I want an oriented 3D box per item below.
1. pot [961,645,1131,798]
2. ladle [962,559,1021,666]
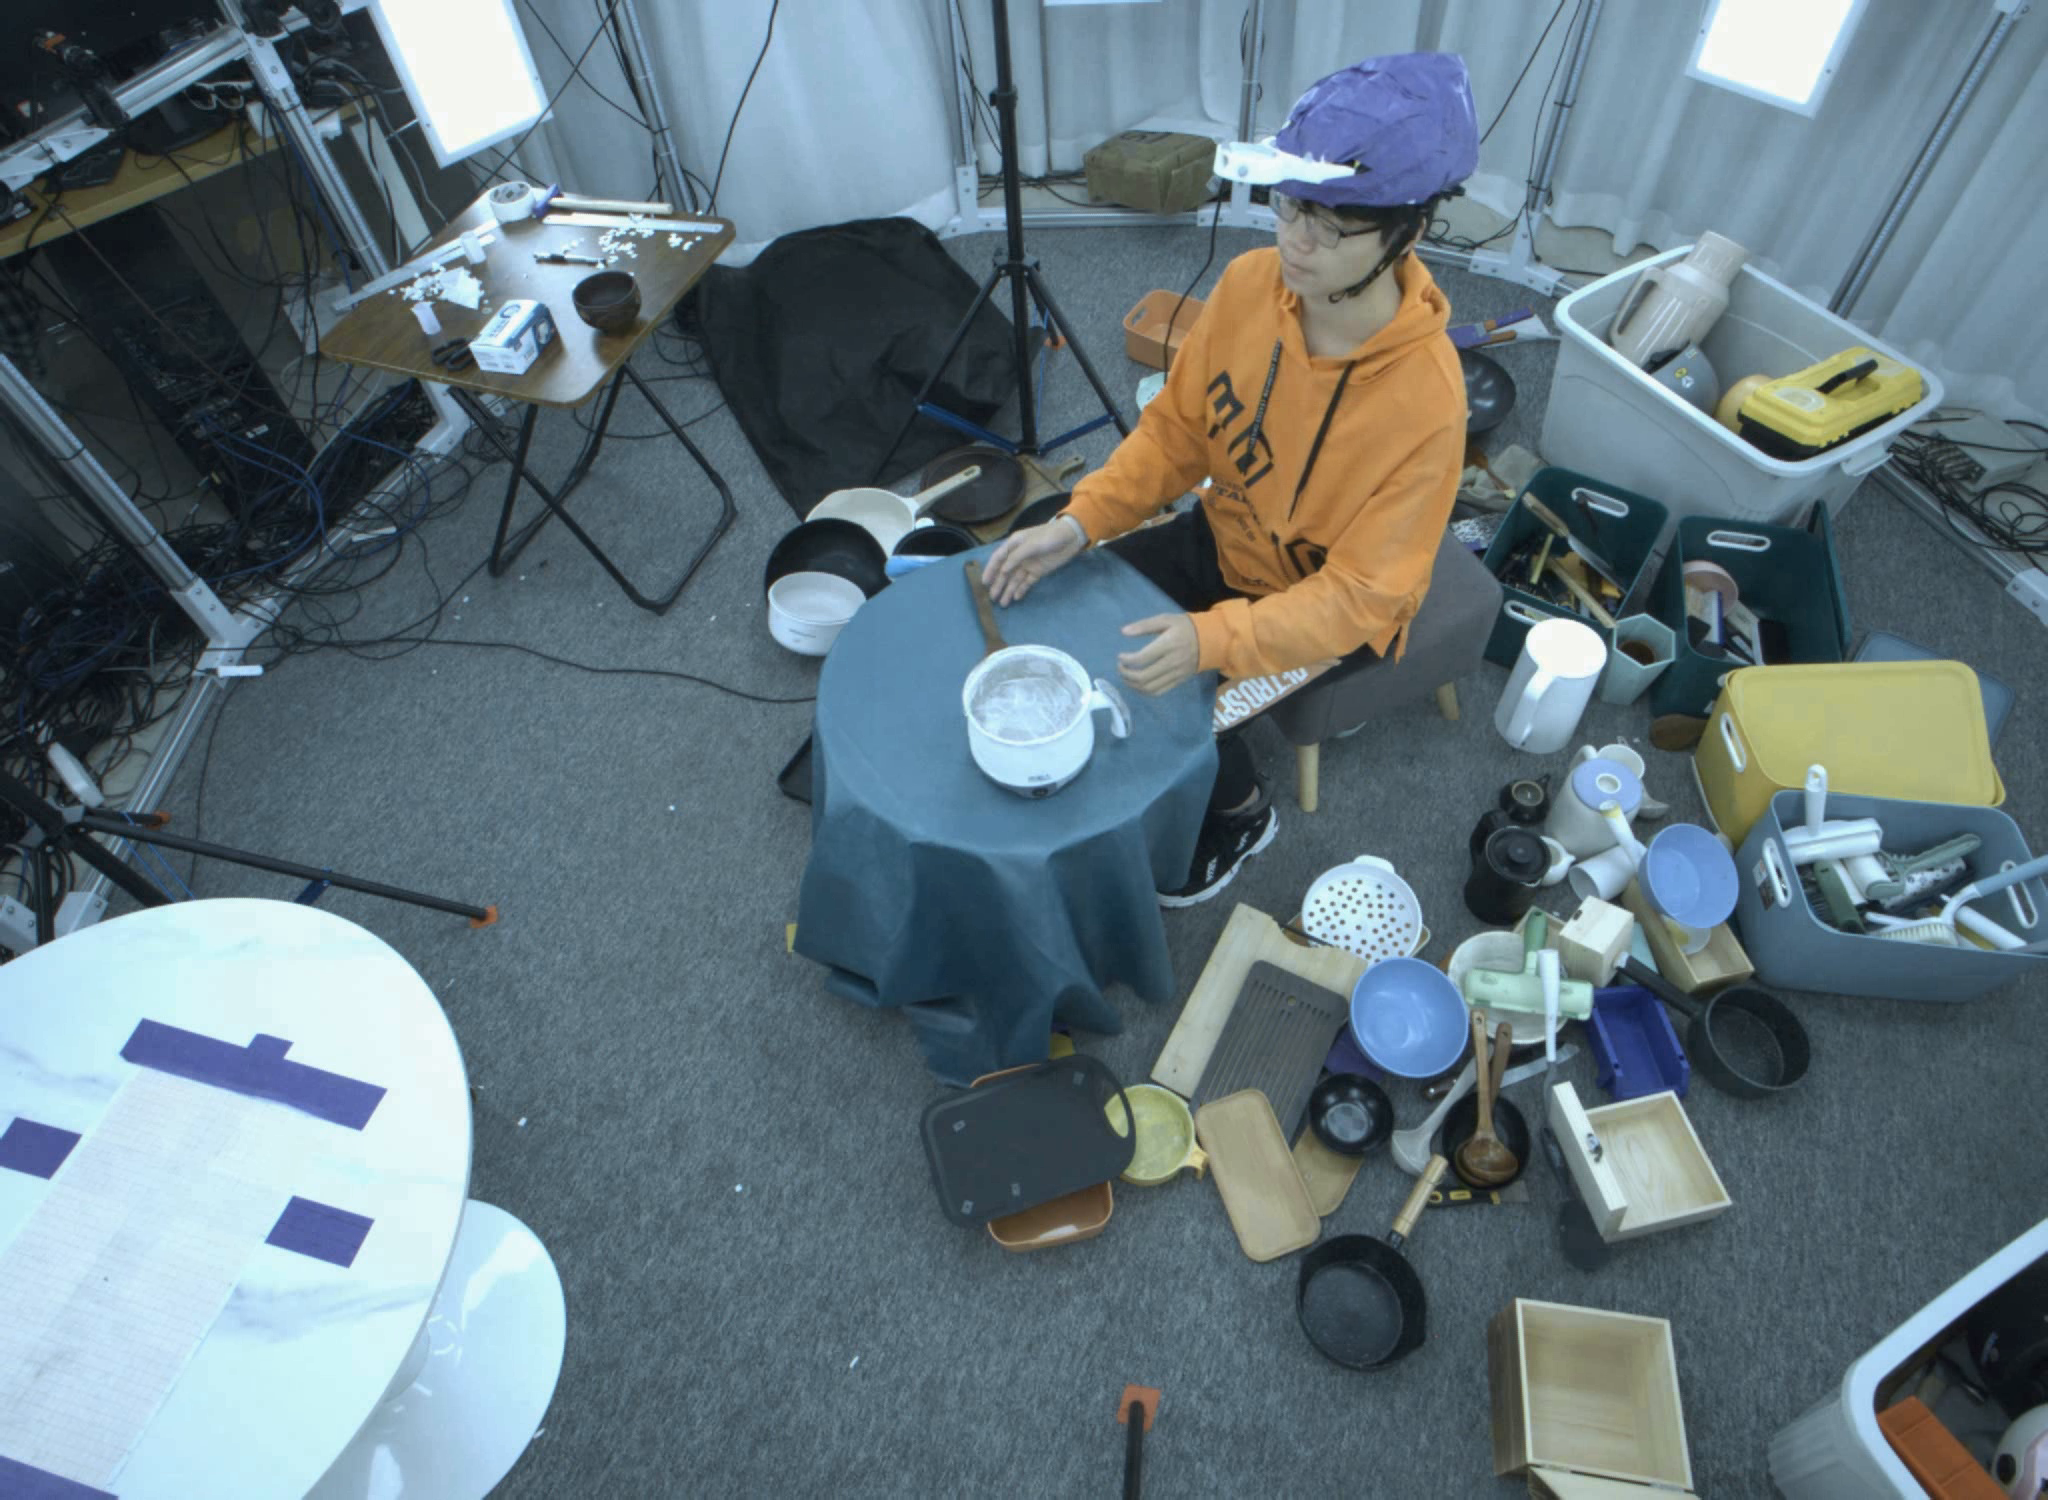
[{"bbox_3d":[0.034,-0.044,1.732,0.234,0.138,0.176,-10,55,-4],"label":"pot"},{"bbox_3d":[-0.060,-0.223,1.904,0.076,0.072,0.270,-11,56,-8],"label":"ladle"}]
